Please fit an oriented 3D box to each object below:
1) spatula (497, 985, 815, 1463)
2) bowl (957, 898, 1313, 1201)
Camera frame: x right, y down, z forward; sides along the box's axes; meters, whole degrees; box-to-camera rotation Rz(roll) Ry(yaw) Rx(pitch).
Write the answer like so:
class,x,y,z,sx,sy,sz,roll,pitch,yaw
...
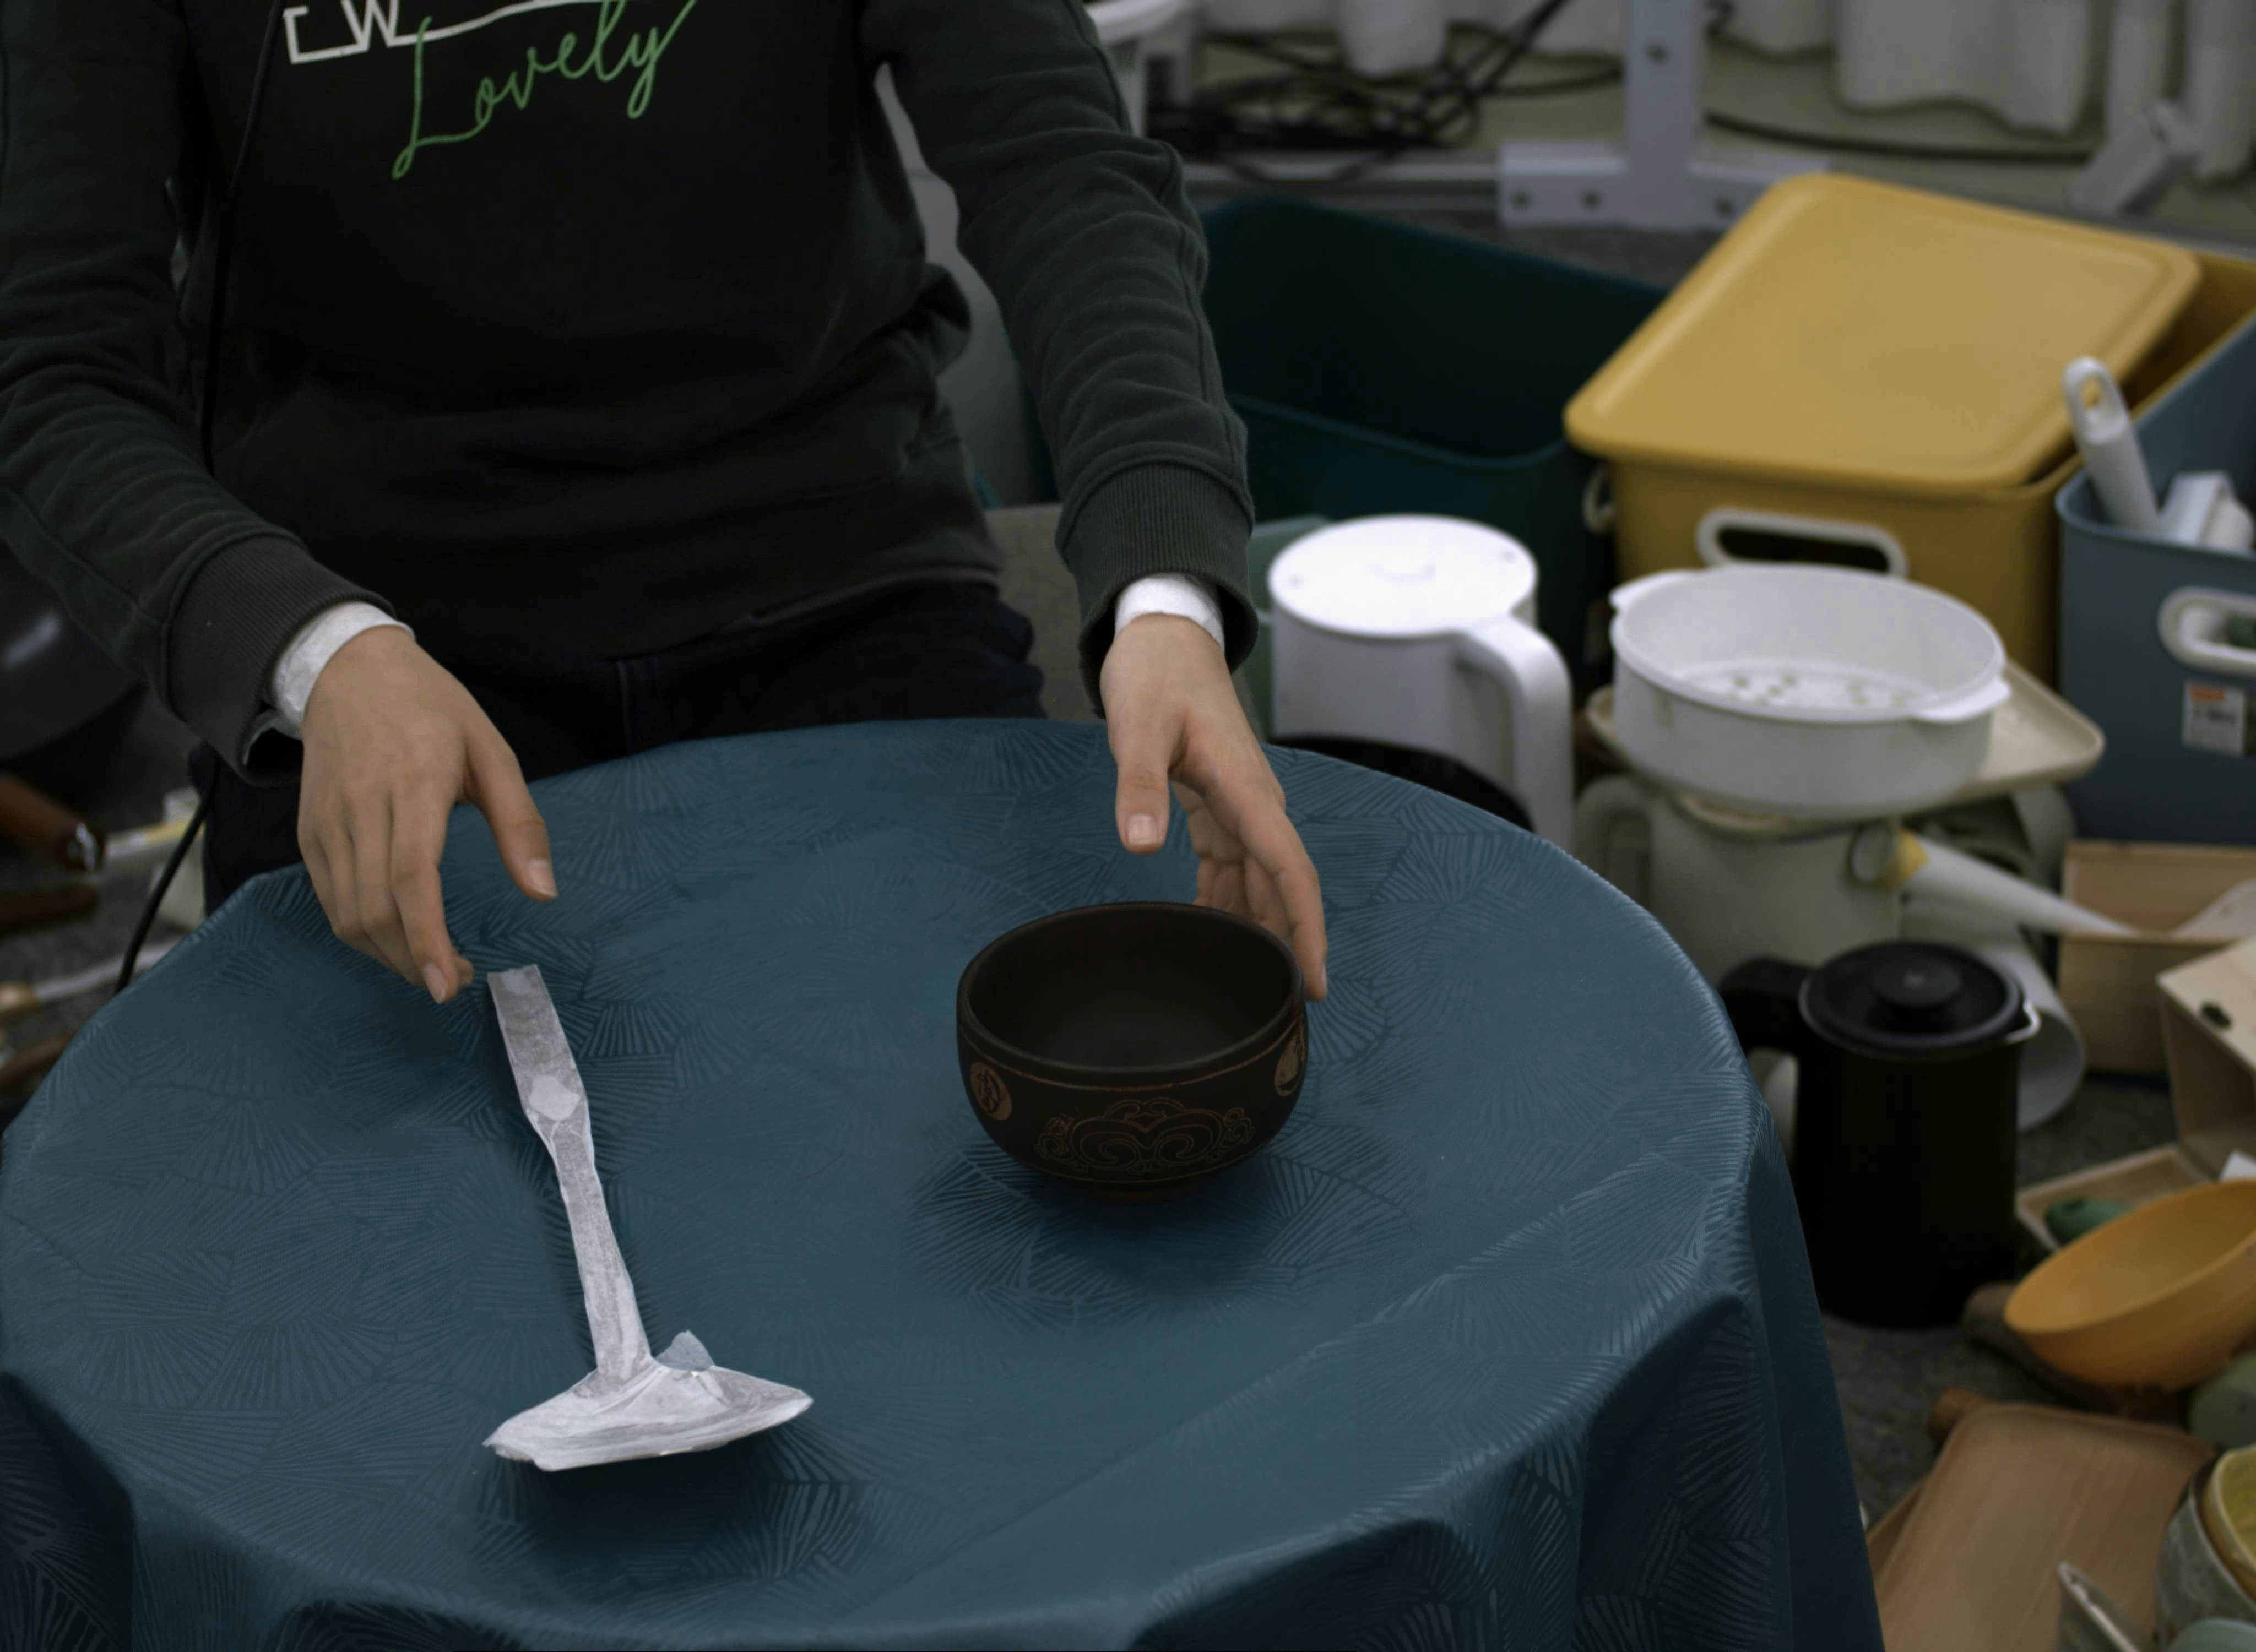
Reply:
class,x,y,z,sx,sy,sz,roll,pitch,yaw
spatula,-0.173,0.122,1.836,0.098,0.044,0.369,-9,28,-9
bowl,0.003,0.081,1.863,0.117,0.069,0.120,-1,26,1
